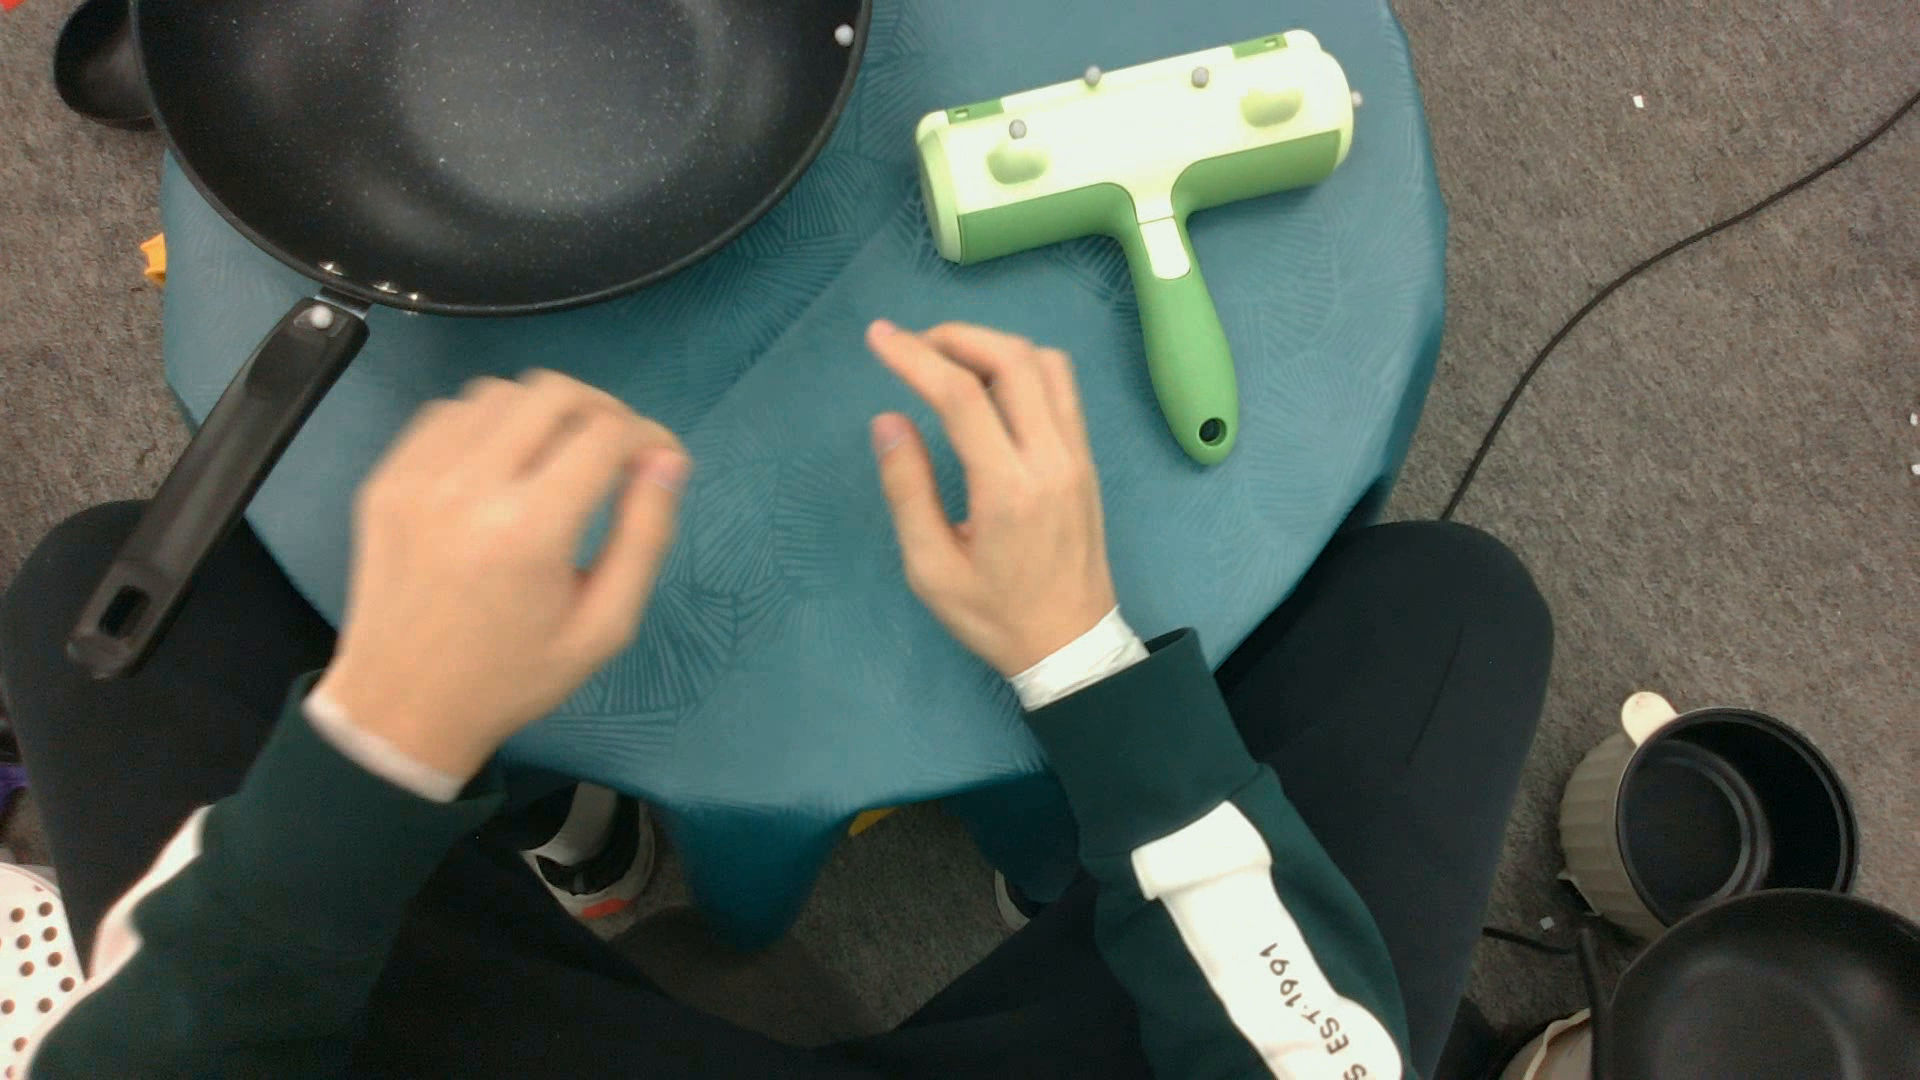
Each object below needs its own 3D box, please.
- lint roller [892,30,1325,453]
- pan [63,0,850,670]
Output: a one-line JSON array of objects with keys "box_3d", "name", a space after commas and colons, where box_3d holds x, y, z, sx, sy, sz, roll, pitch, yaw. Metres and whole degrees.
[{"box_3d": [0.084, -0.134, 0.617, 0.199, 0.082, 0.183, -14, 74, -6], "name": "lint roller"}, {"box_3d": [-0.229, -0.162, 0.591, 0.310, 0.111, 0.478, 19, 77, 3], "name": "pan"}]
